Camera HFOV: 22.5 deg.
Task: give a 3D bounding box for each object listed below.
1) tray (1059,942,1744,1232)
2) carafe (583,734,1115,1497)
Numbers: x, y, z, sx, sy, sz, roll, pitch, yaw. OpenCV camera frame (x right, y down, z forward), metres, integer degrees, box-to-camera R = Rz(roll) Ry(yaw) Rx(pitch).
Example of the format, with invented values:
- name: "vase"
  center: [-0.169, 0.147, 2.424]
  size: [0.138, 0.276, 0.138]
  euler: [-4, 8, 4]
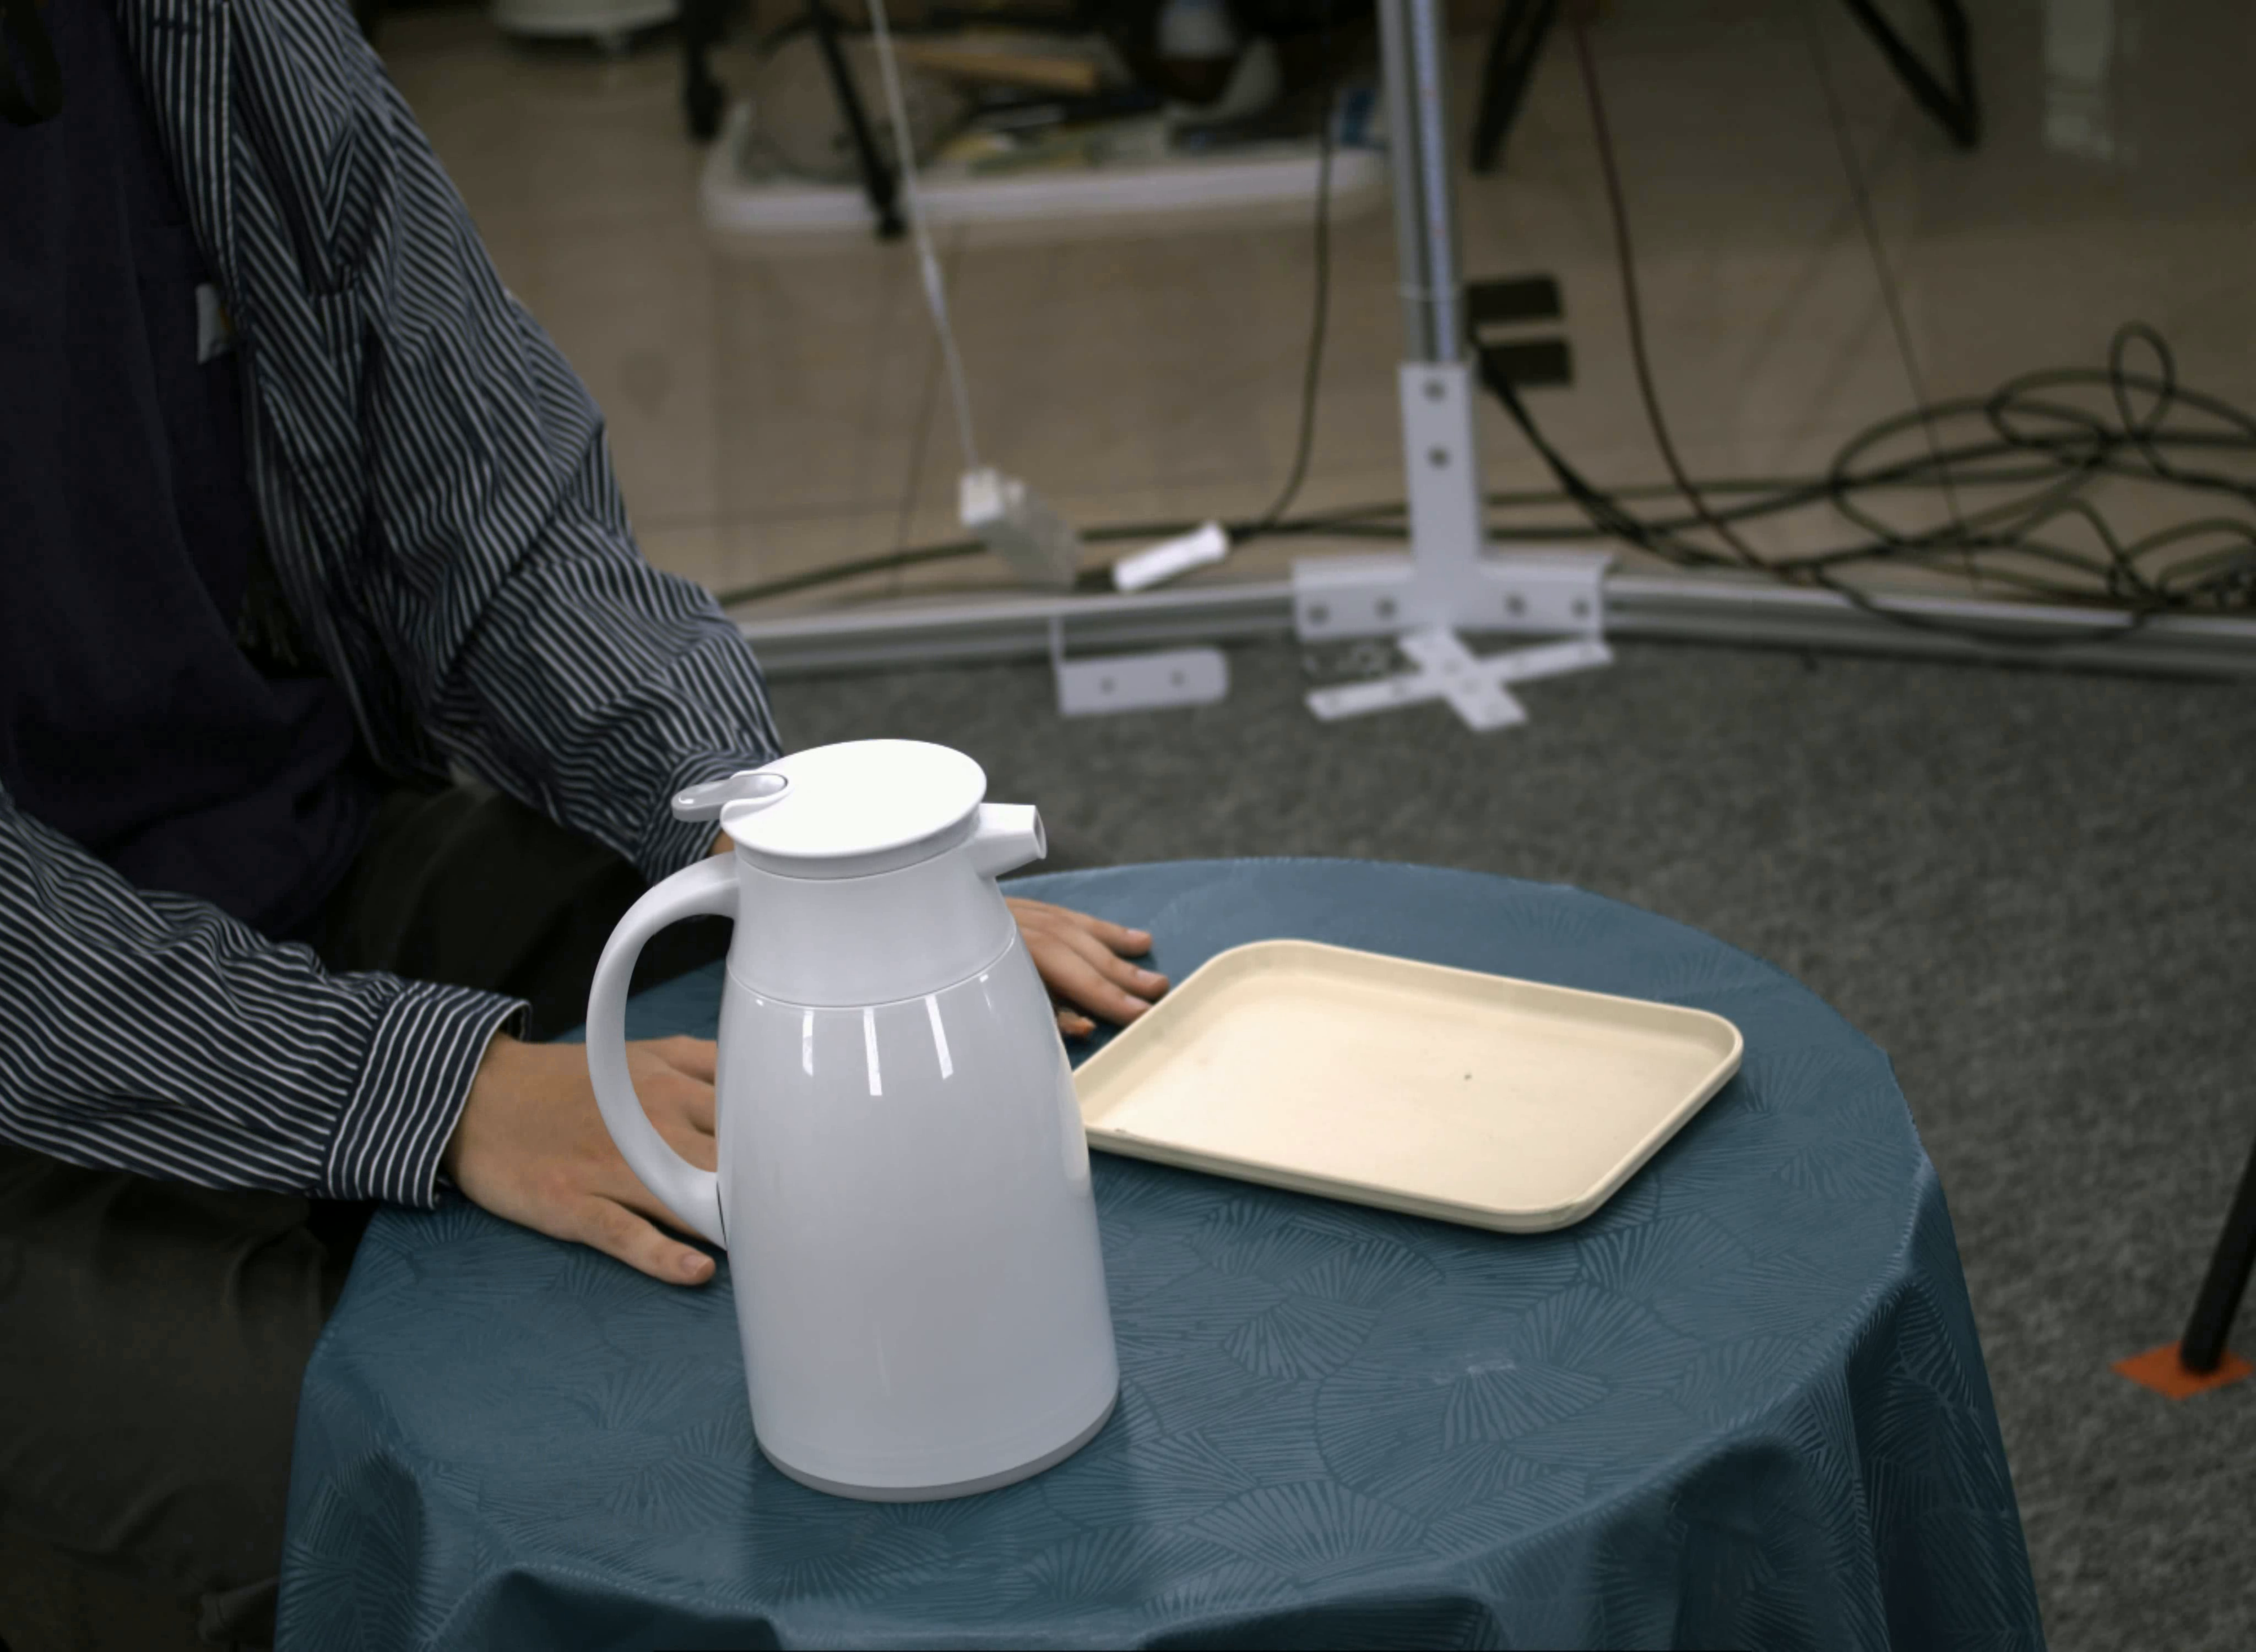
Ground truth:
- name: "tray"
  center: [0.104, 0.100, 2.187]
  size: [0.238, 0.018, 0.169]
  euler: [9, 29, 31]
- name: "carafe"
  center: [-0.101, 0.096, 1.967]
  size: [0.167, 0.253, 0.130]
  euler: [-7, 27, 1]
